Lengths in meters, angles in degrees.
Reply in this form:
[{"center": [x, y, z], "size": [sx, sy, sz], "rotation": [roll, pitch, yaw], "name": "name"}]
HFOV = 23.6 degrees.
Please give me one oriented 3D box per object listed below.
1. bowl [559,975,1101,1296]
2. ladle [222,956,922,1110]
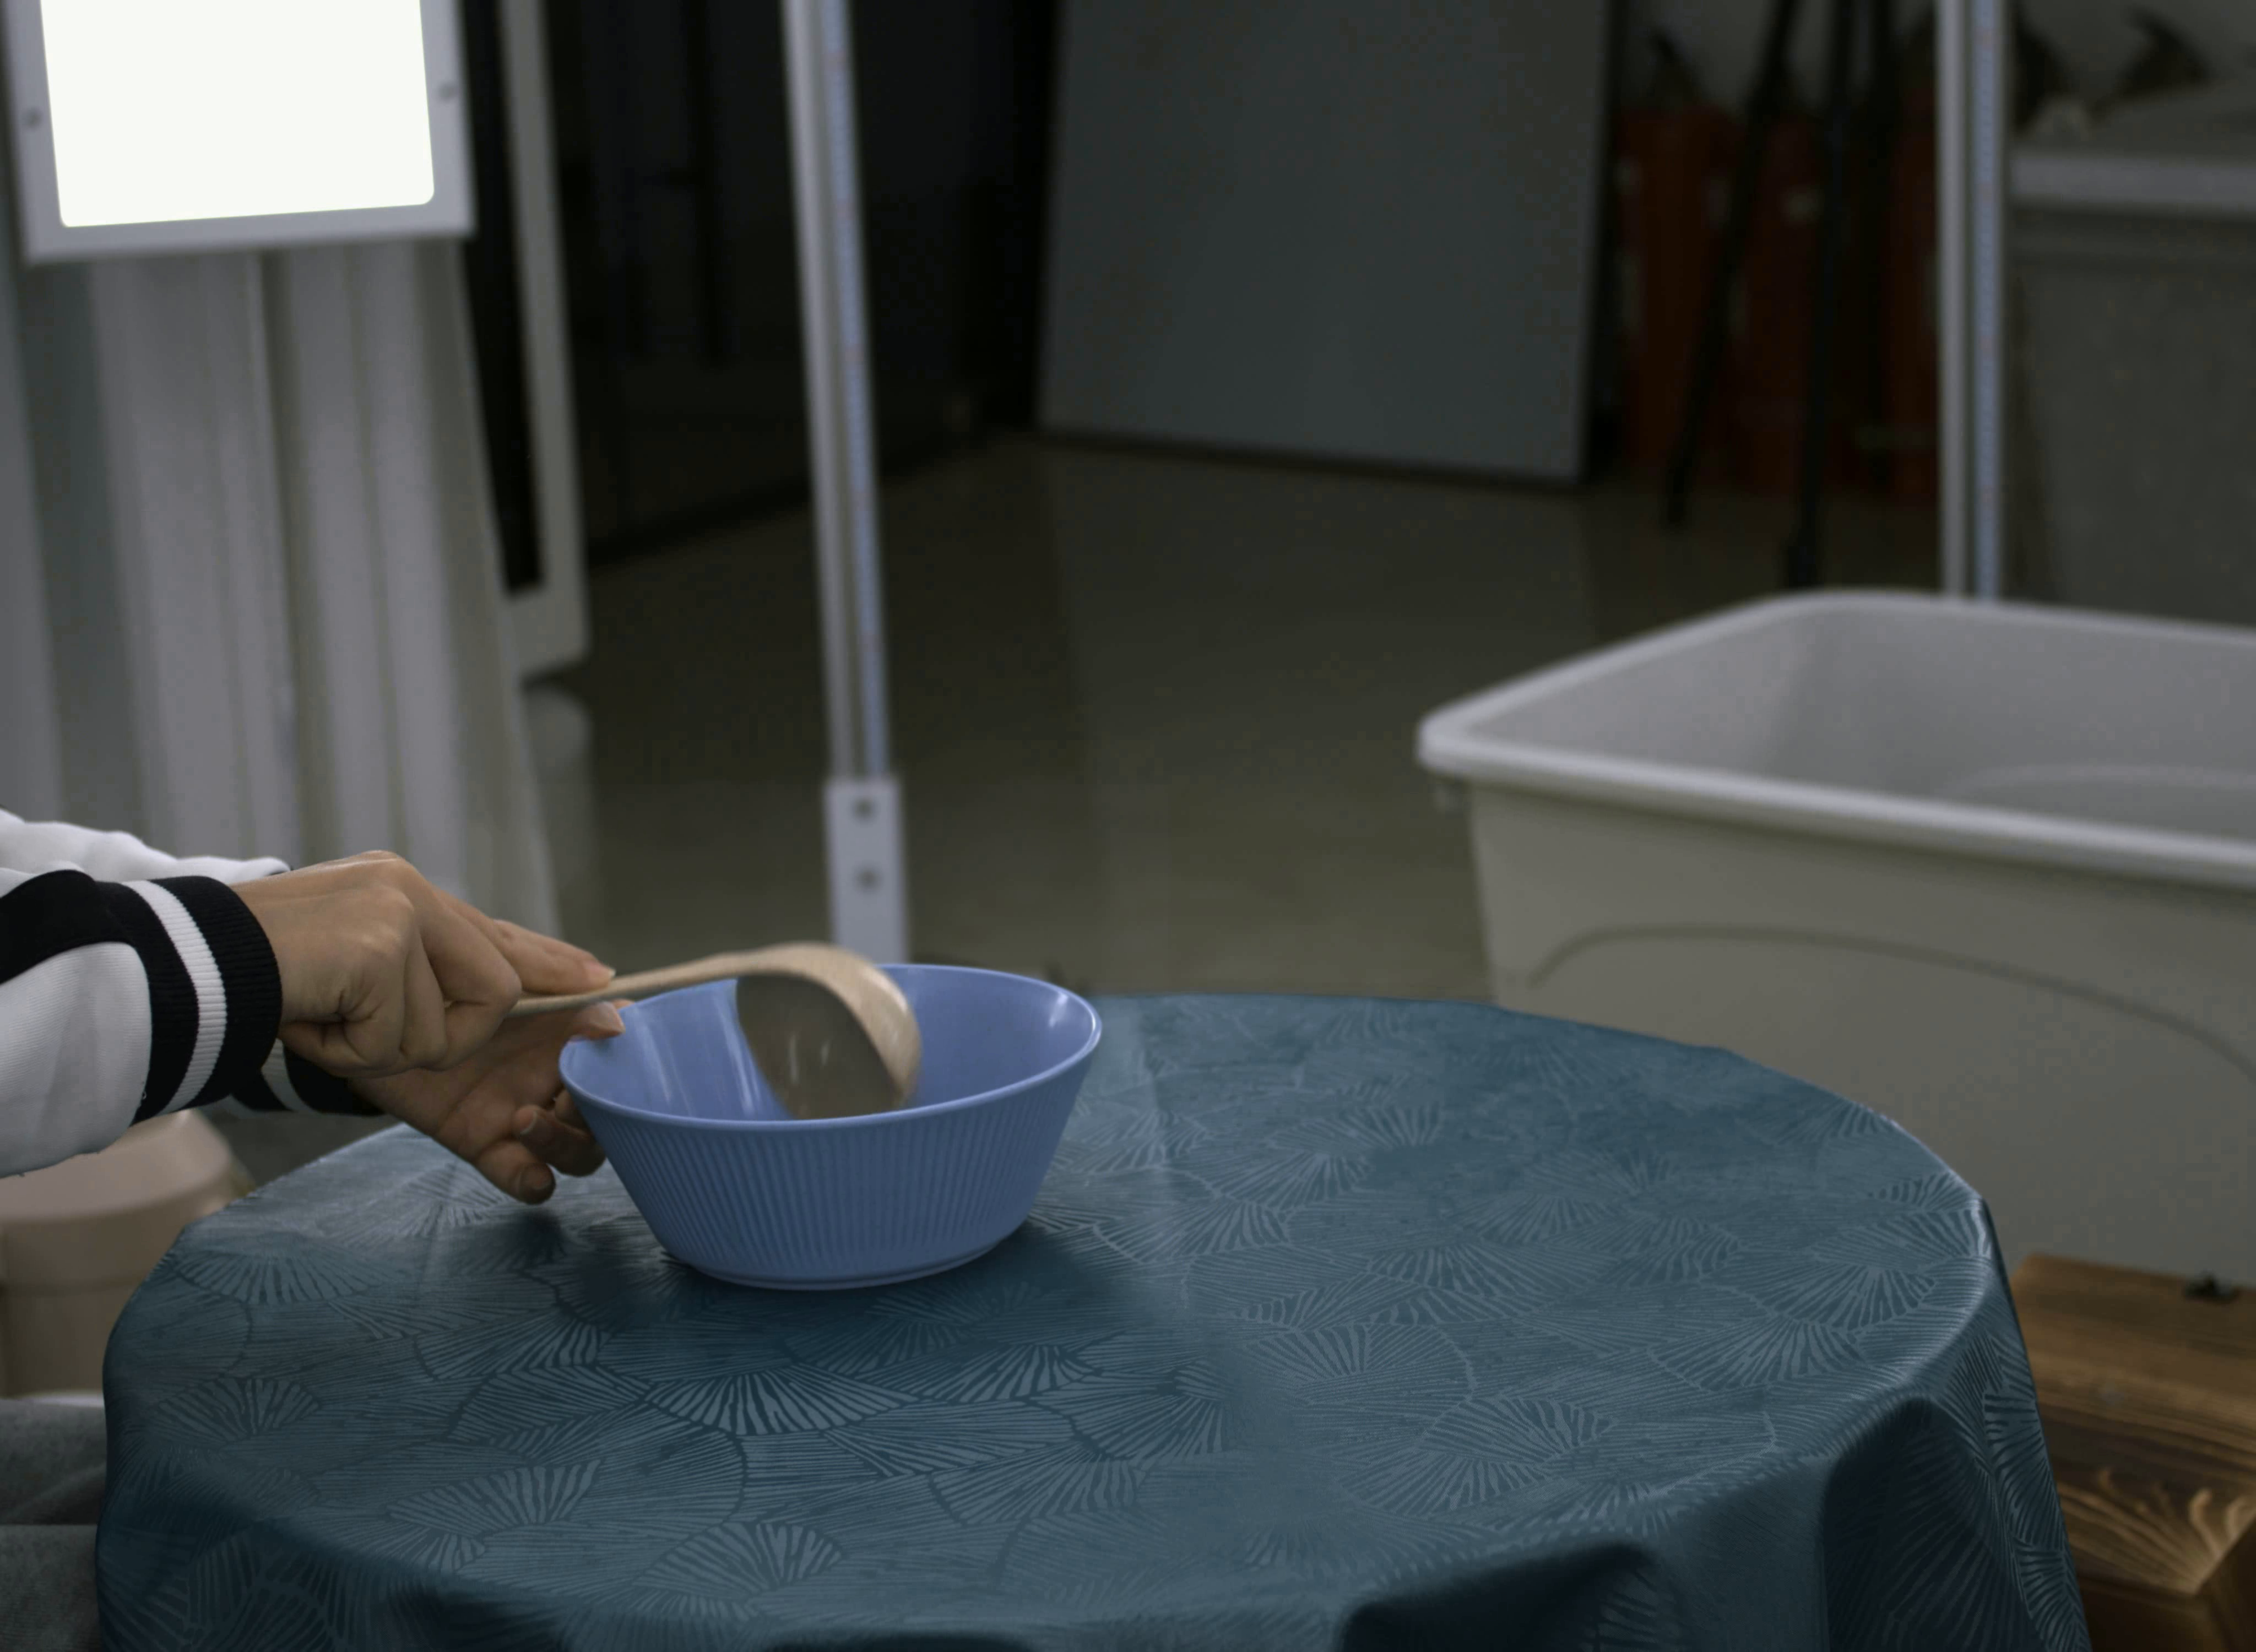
[{"center": [-0.093, 0.101, 1.734], "size": [0.174, 0.071, 0.176], "rotation": [-4, 13, 0], "name": "bowl"}, {"center": [-0.172, 0.080, 1.672], "size": [0.248, 0.074, 0.073], "rotation": [-1, 7, -41], "name": "ladle"}]
